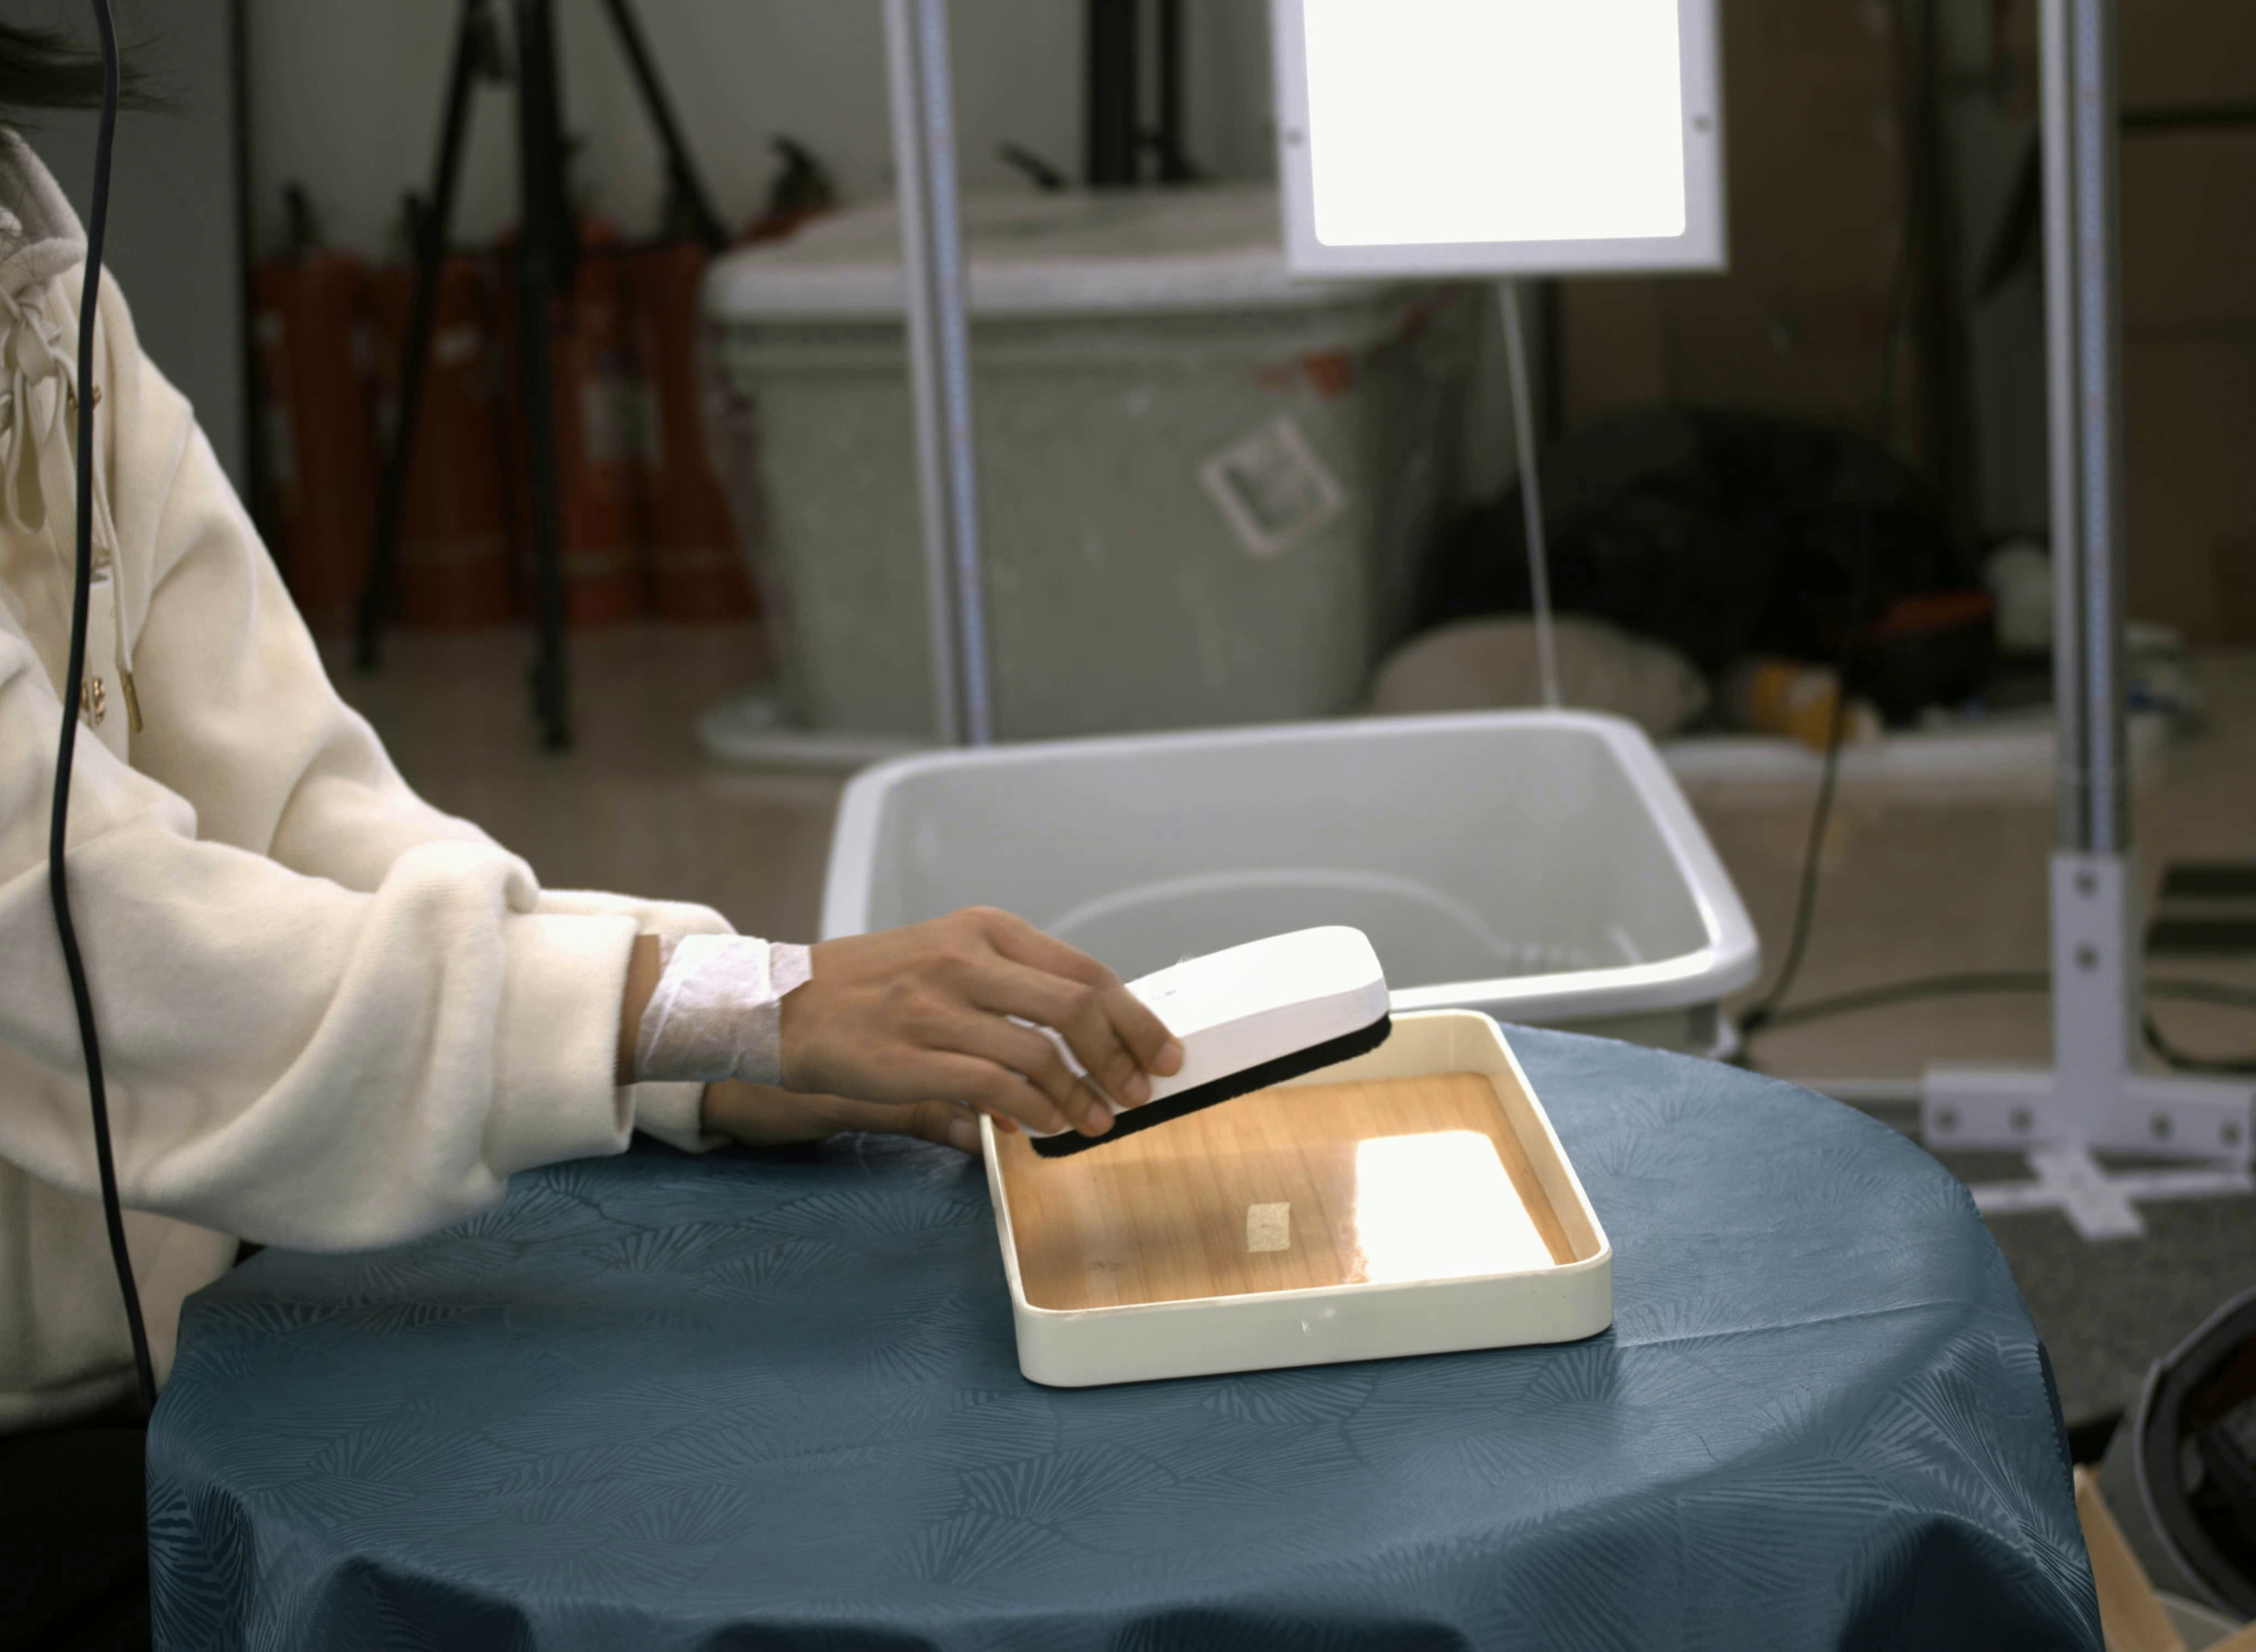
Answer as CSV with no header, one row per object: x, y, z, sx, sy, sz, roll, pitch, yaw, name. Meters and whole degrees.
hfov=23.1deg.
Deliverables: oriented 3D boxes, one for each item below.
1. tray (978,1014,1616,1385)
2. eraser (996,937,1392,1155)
0.050,0.121,1.845,0.191,0.027,0.300,-5,14,-2,tray
0.022,0.070,1.826,0.131,0.034,0.063,-17,21,0,eraser
